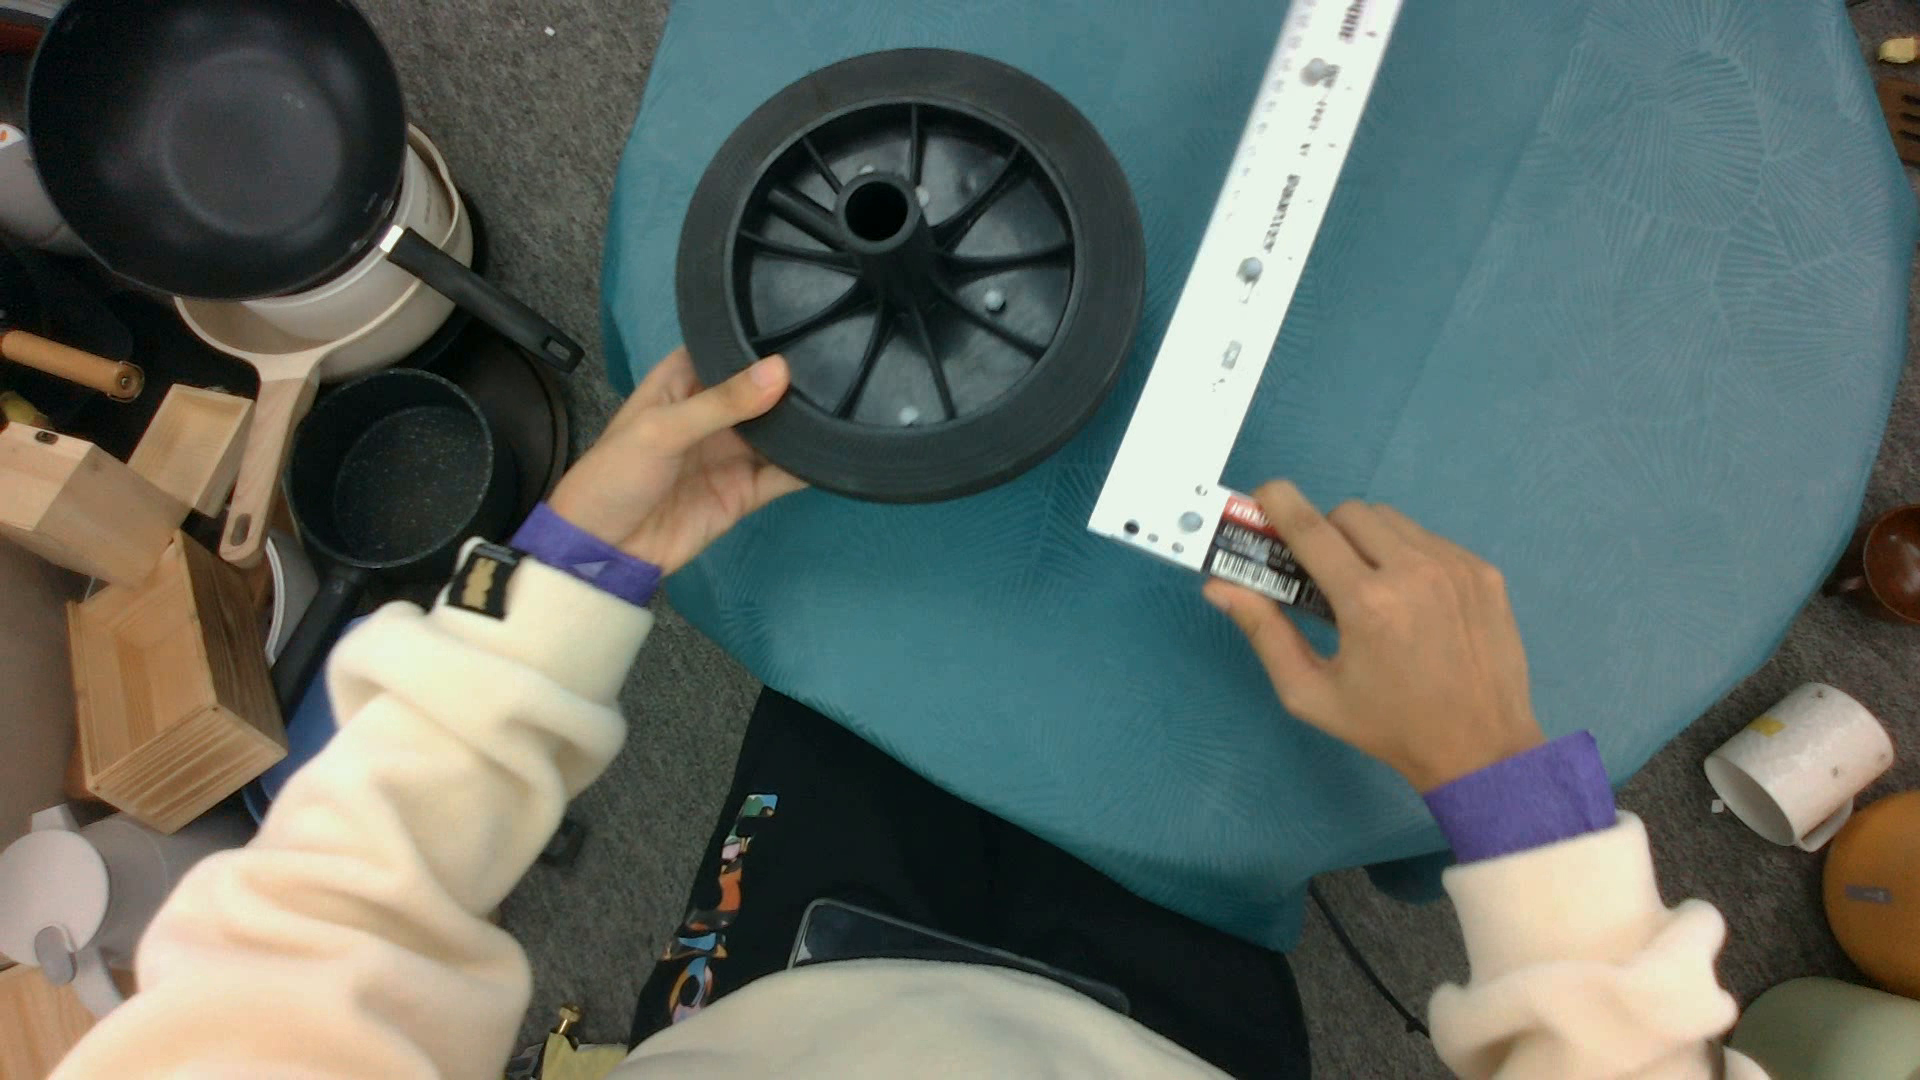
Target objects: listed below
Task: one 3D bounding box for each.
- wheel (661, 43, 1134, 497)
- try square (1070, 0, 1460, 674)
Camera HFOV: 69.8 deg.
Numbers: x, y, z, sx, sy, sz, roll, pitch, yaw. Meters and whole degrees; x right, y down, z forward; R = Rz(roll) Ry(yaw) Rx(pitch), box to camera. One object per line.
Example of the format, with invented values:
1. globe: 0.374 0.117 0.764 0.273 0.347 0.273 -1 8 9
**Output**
1. wheel: -0.029 -0.114 0.531 0.190 0.079 0.187 9 80 9
2. try square: 0.170 -0.118 0.553 0.152 0.016 0.313 23 81 -1
